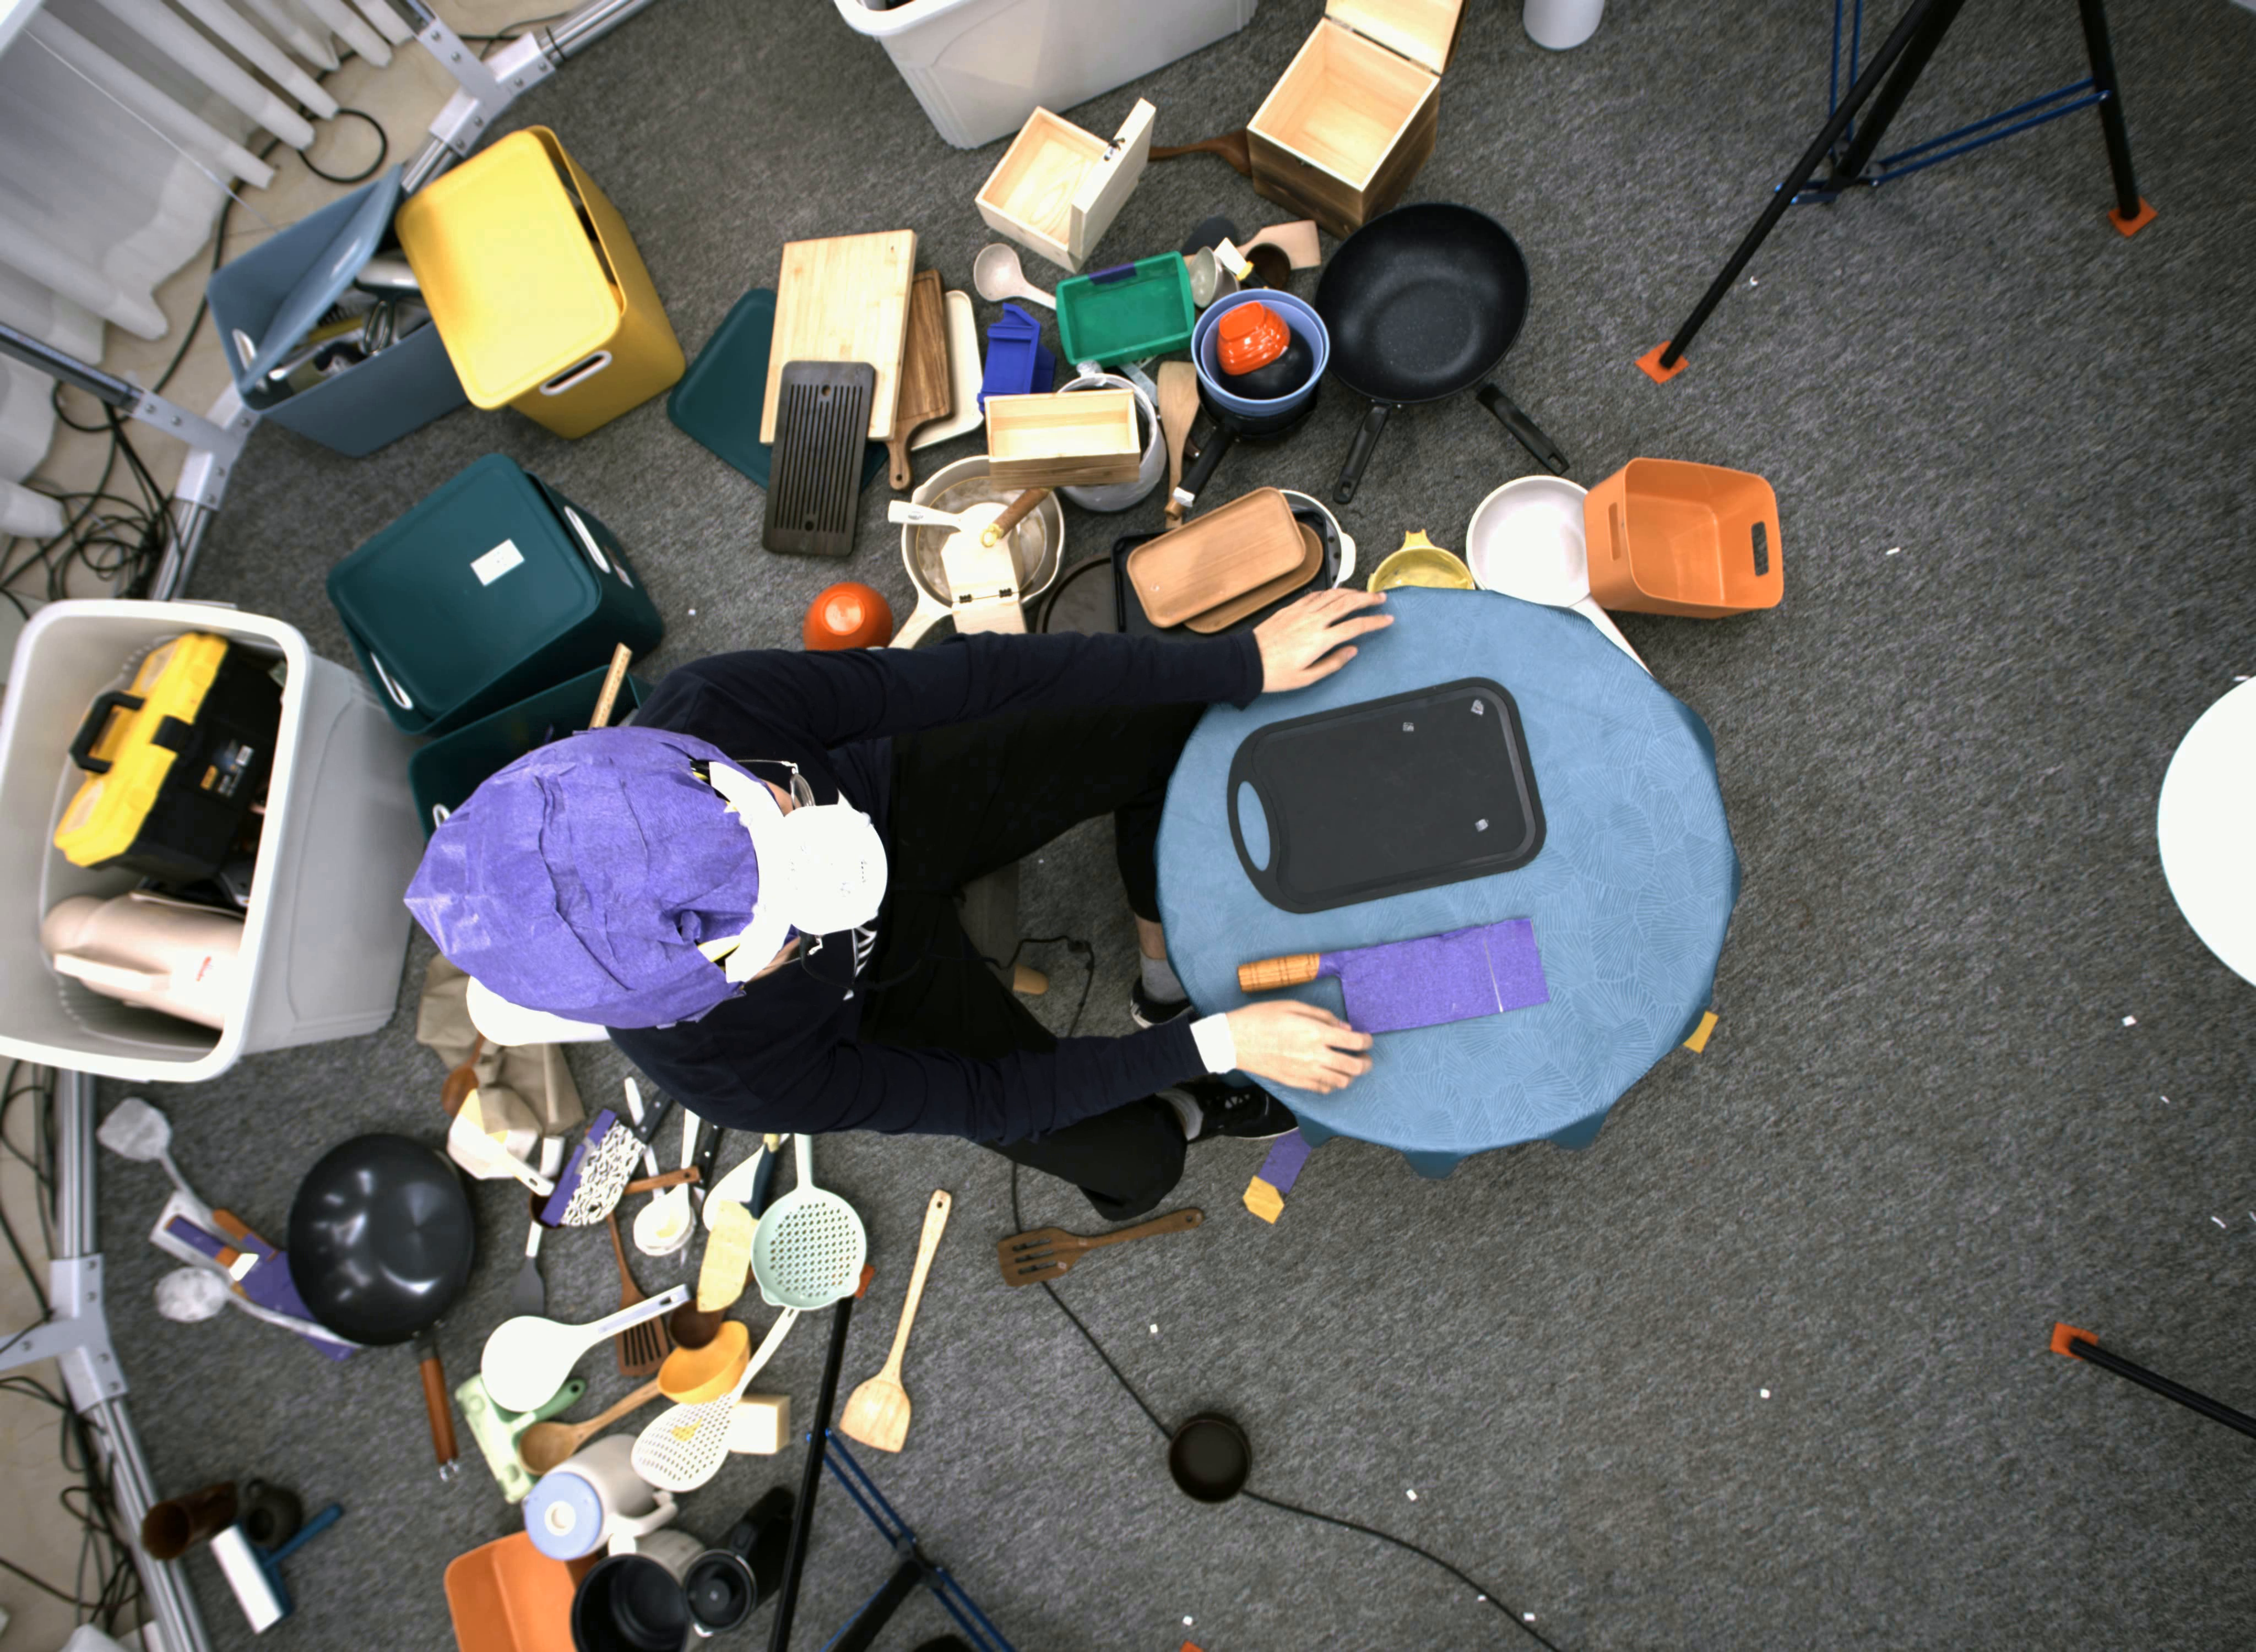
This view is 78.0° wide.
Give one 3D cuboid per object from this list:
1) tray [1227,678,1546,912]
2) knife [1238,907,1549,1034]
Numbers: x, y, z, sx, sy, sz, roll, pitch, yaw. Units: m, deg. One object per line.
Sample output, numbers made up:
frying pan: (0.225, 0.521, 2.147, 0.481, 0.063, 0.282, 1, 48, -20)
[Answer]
tray: (0.267, -0.031, 1.463, 0.327, 0.010, 0.210, -12, 84, 10)
knife: (0.276, 0.163, 1.440, 0.317, 0.032, 0.103, -12, 84, 9)
